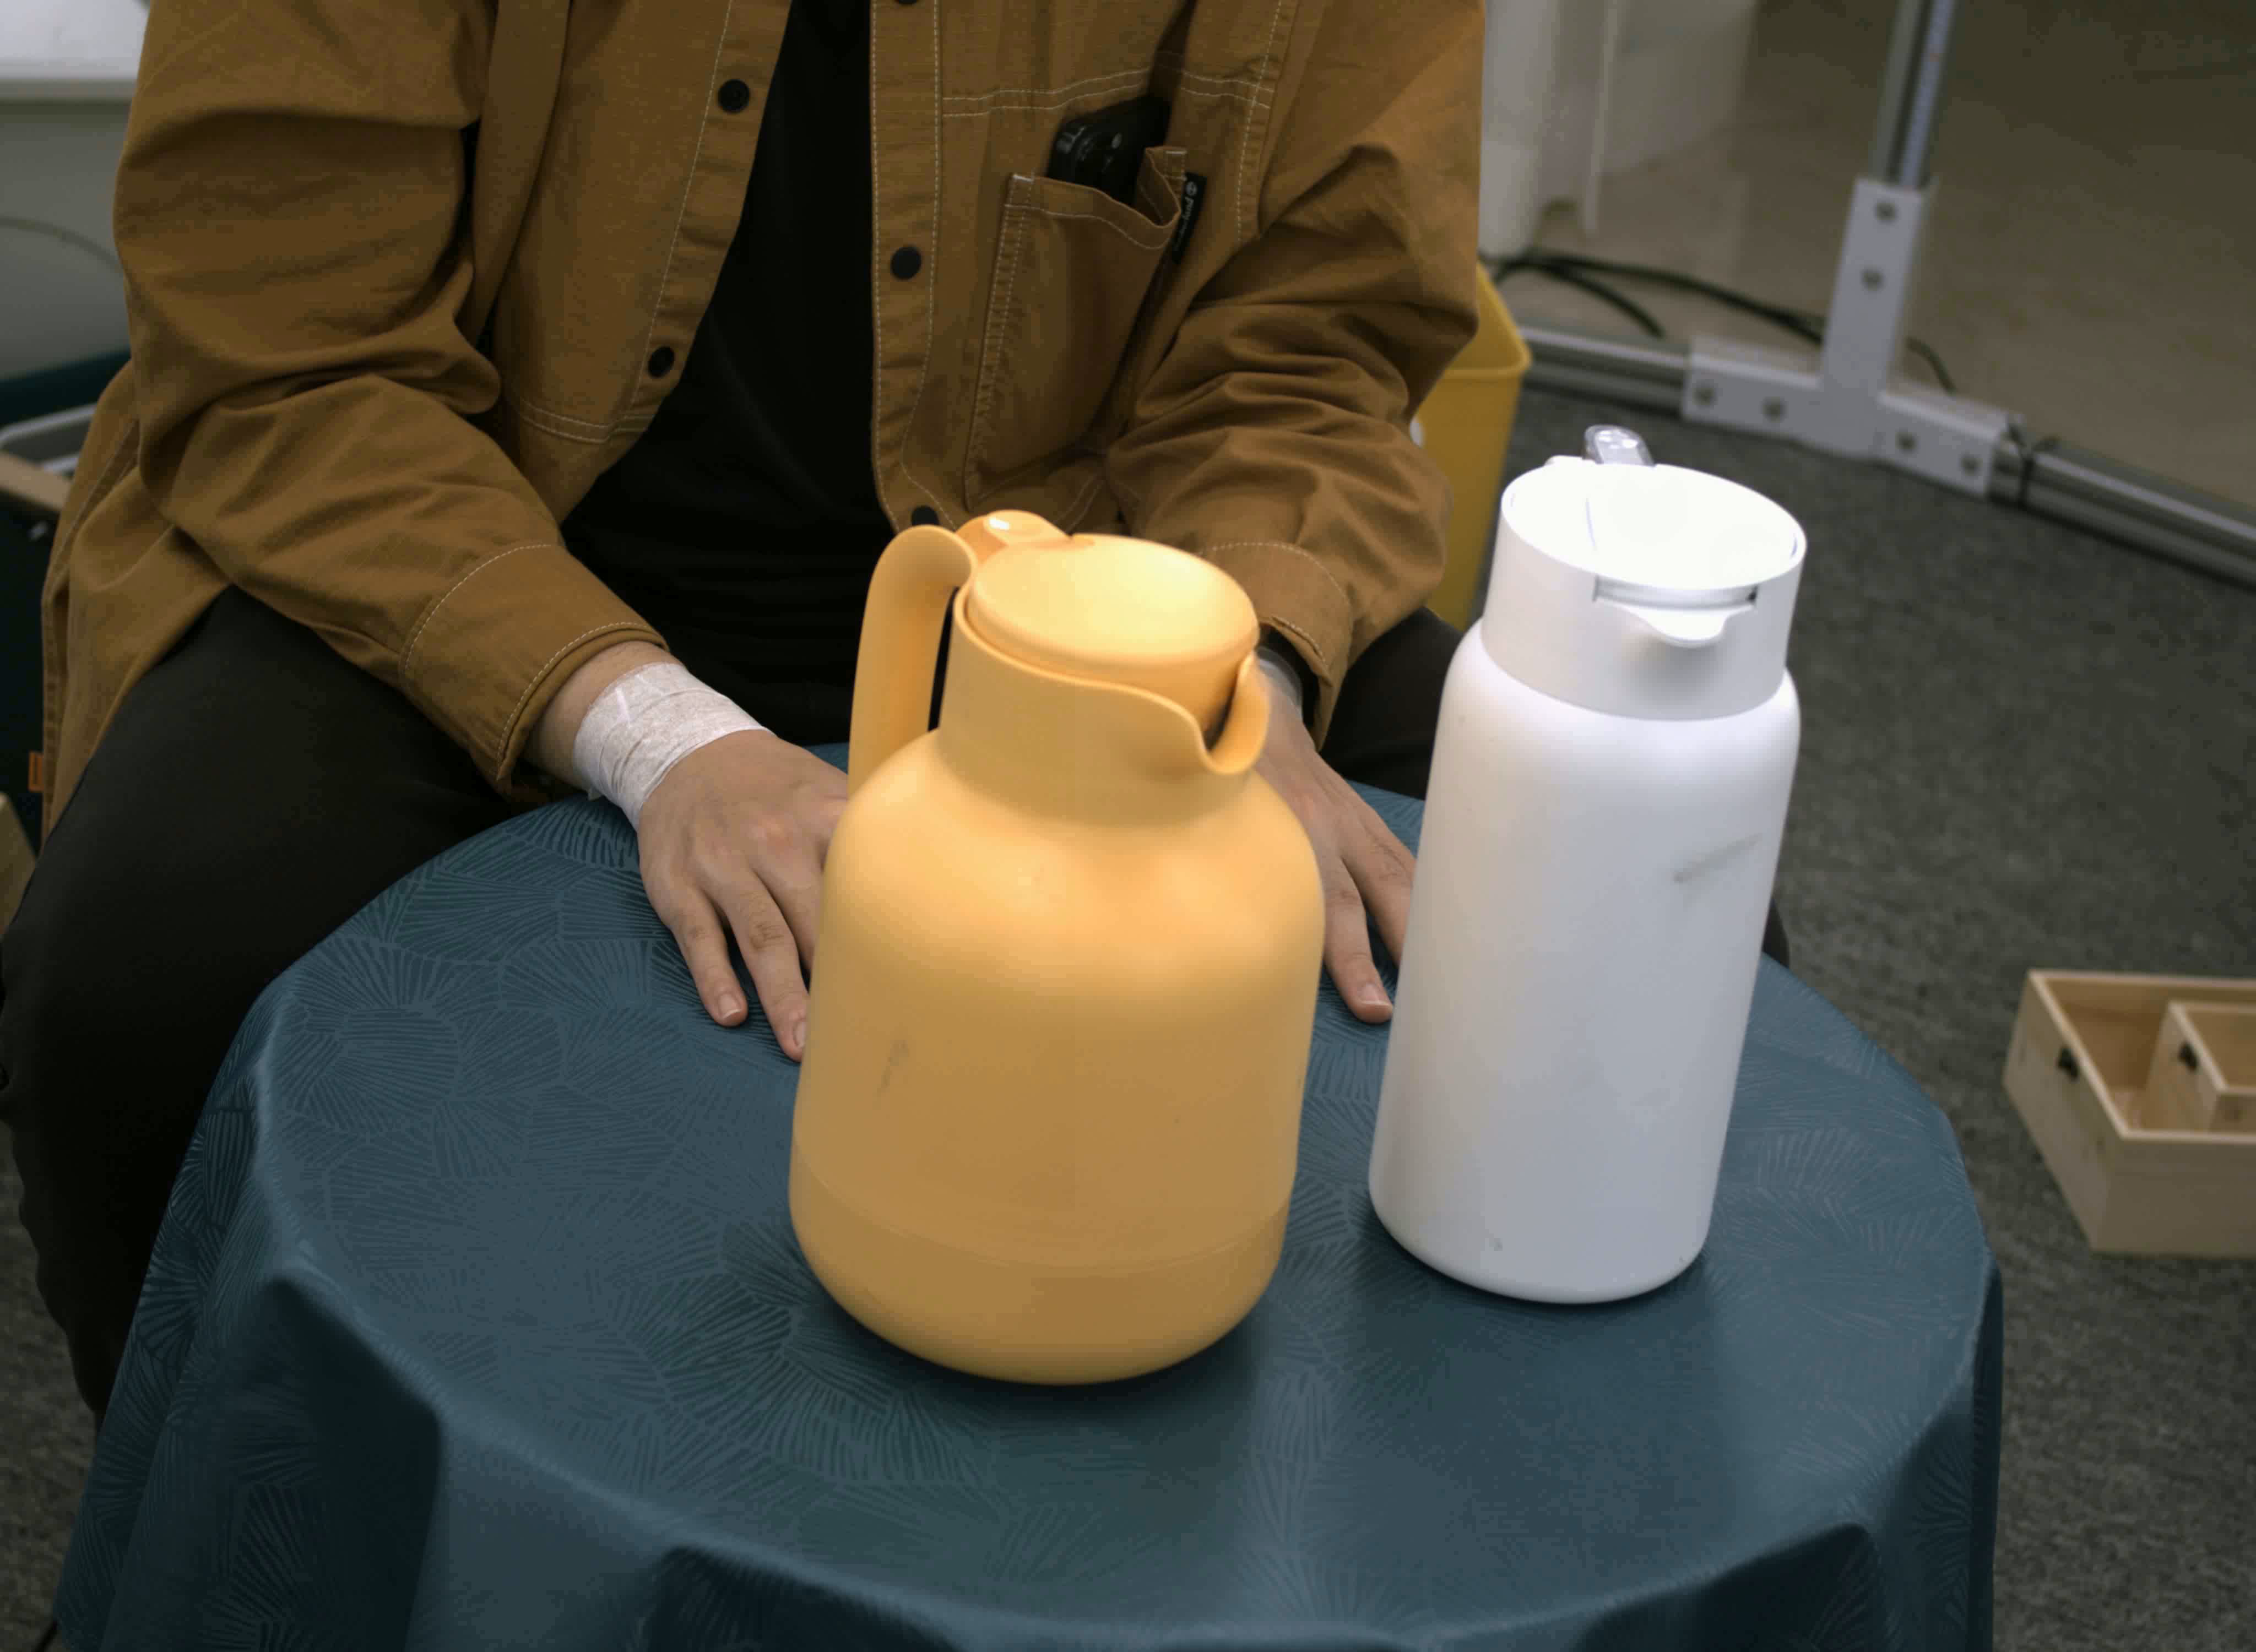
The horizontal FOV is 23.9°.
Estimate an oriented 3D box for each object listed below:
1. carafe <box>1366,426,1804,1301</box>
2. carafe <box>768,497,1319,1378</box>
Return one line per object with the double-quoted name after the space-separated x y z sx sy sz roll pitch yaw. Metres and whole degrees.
0.149 0.009 1.769 0.123 0.268 0.174 0 27 -8 "carafe"
-0.030 0.026 1.700 0.162 0.260 0.204 -6 30 -31 "carafe"
